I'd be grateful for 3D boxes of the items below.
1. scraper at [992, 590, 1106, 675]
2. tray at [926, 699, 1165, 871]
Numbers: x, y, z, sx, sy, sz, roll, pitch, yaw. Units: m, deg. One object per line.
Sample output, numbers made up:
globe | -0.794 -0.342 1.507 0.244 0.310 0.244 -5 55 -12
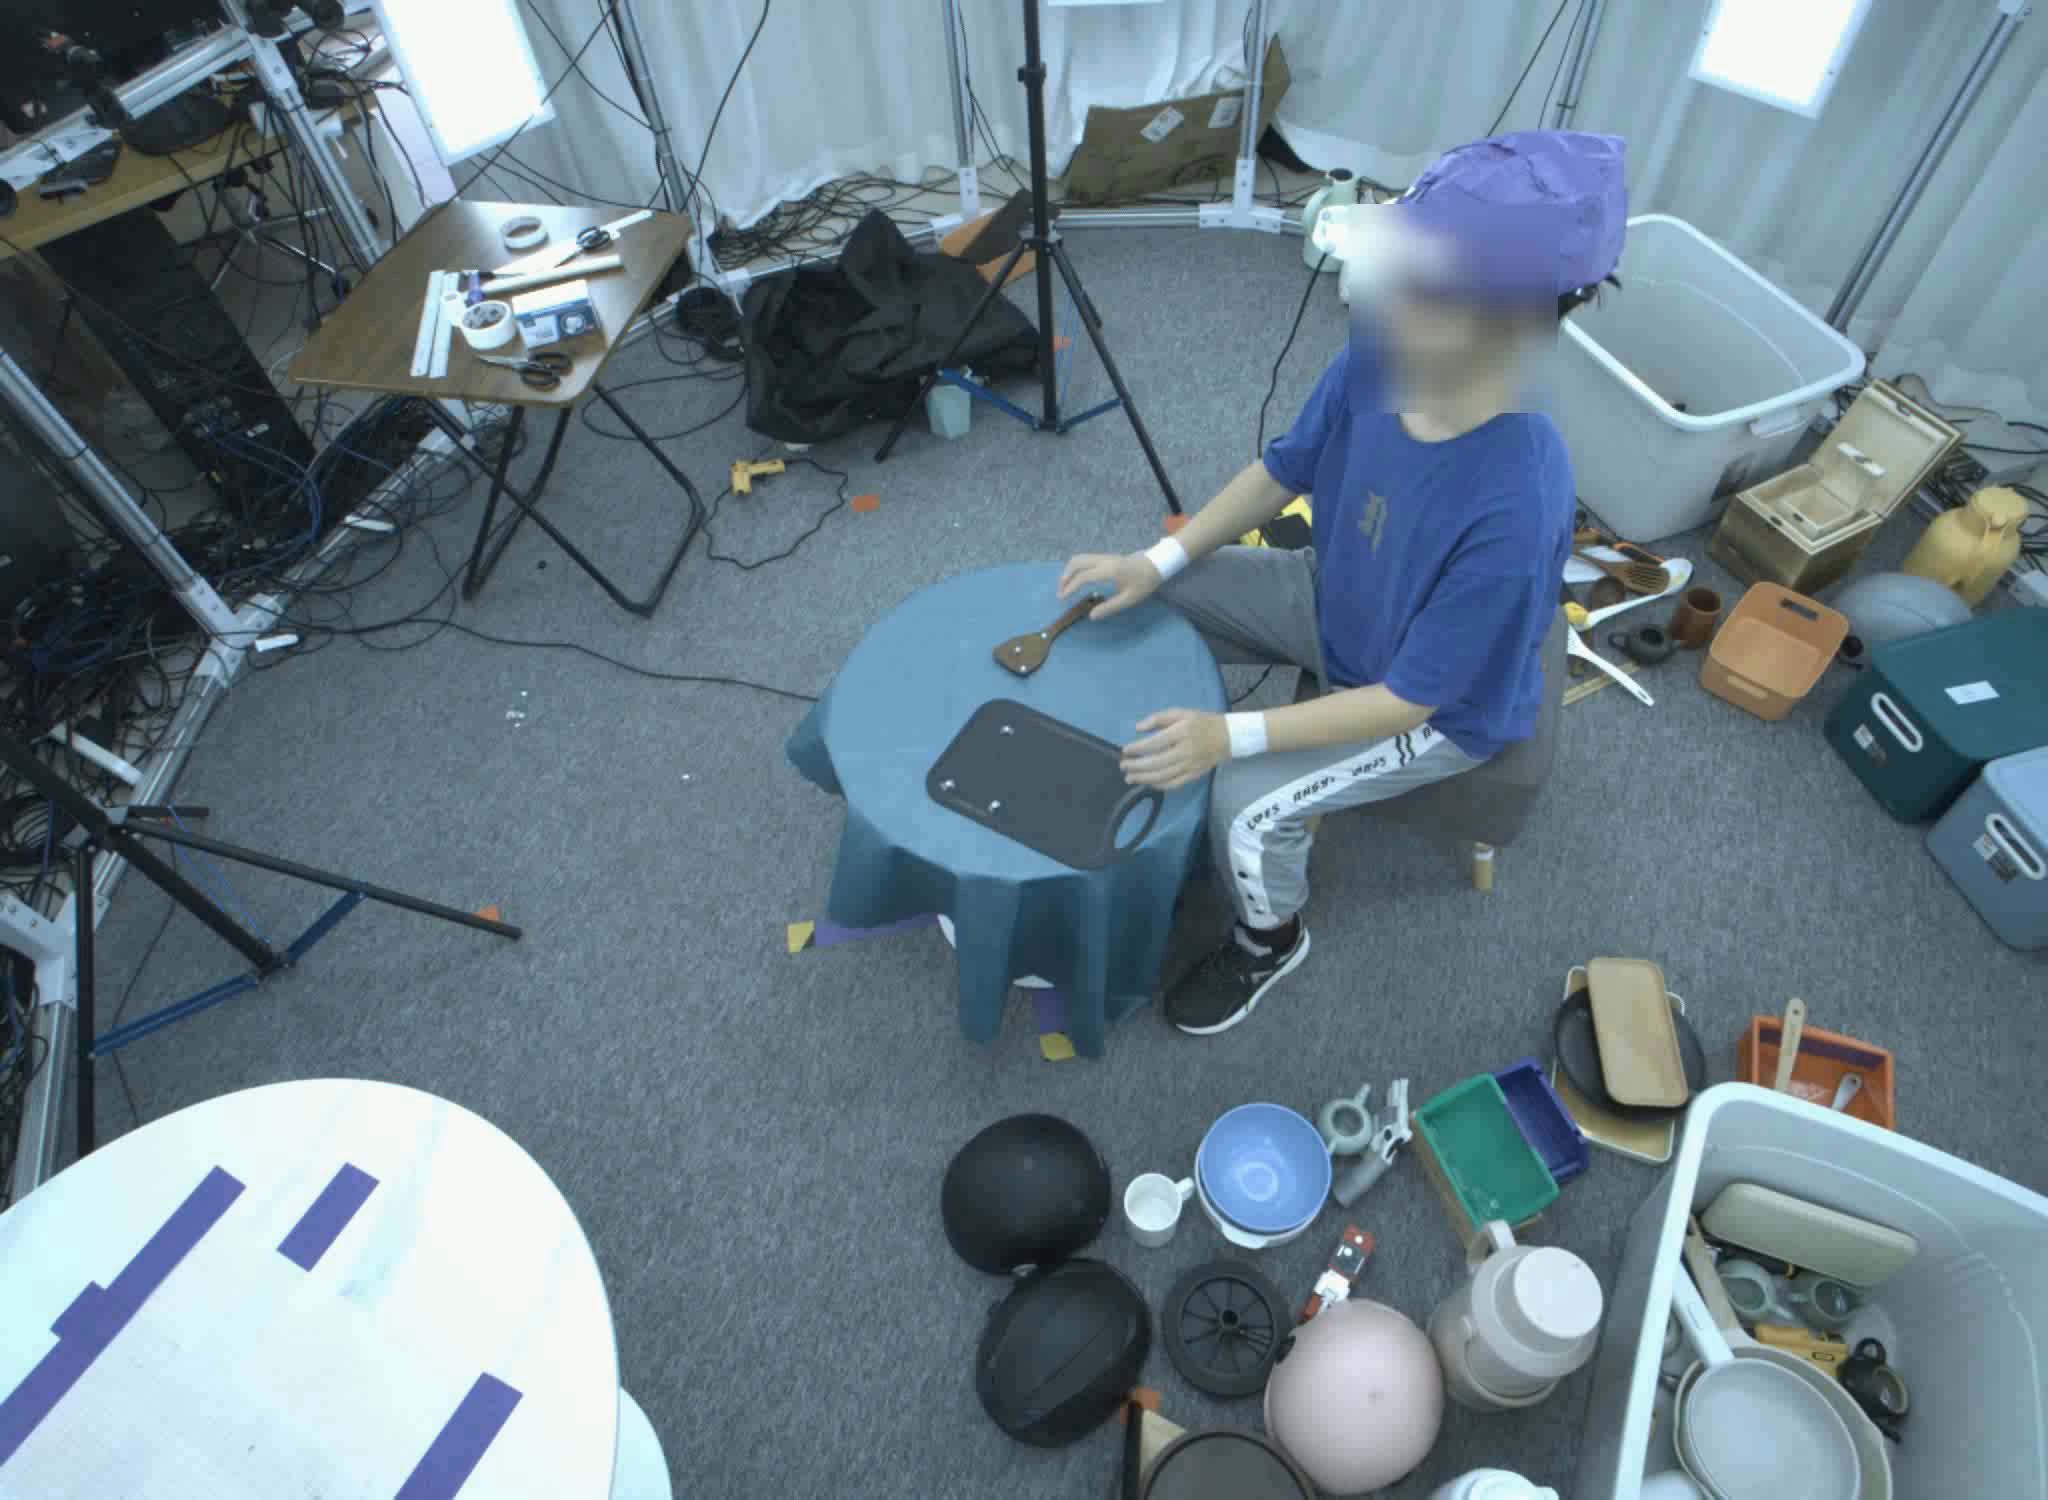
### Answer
scraper | 0.047 -0.188 1.906 0.213 0.011 0.074 -38 62 -24
tray | 0.036 0.046 1.740 0.321 0.010 0.212 25 59 18
